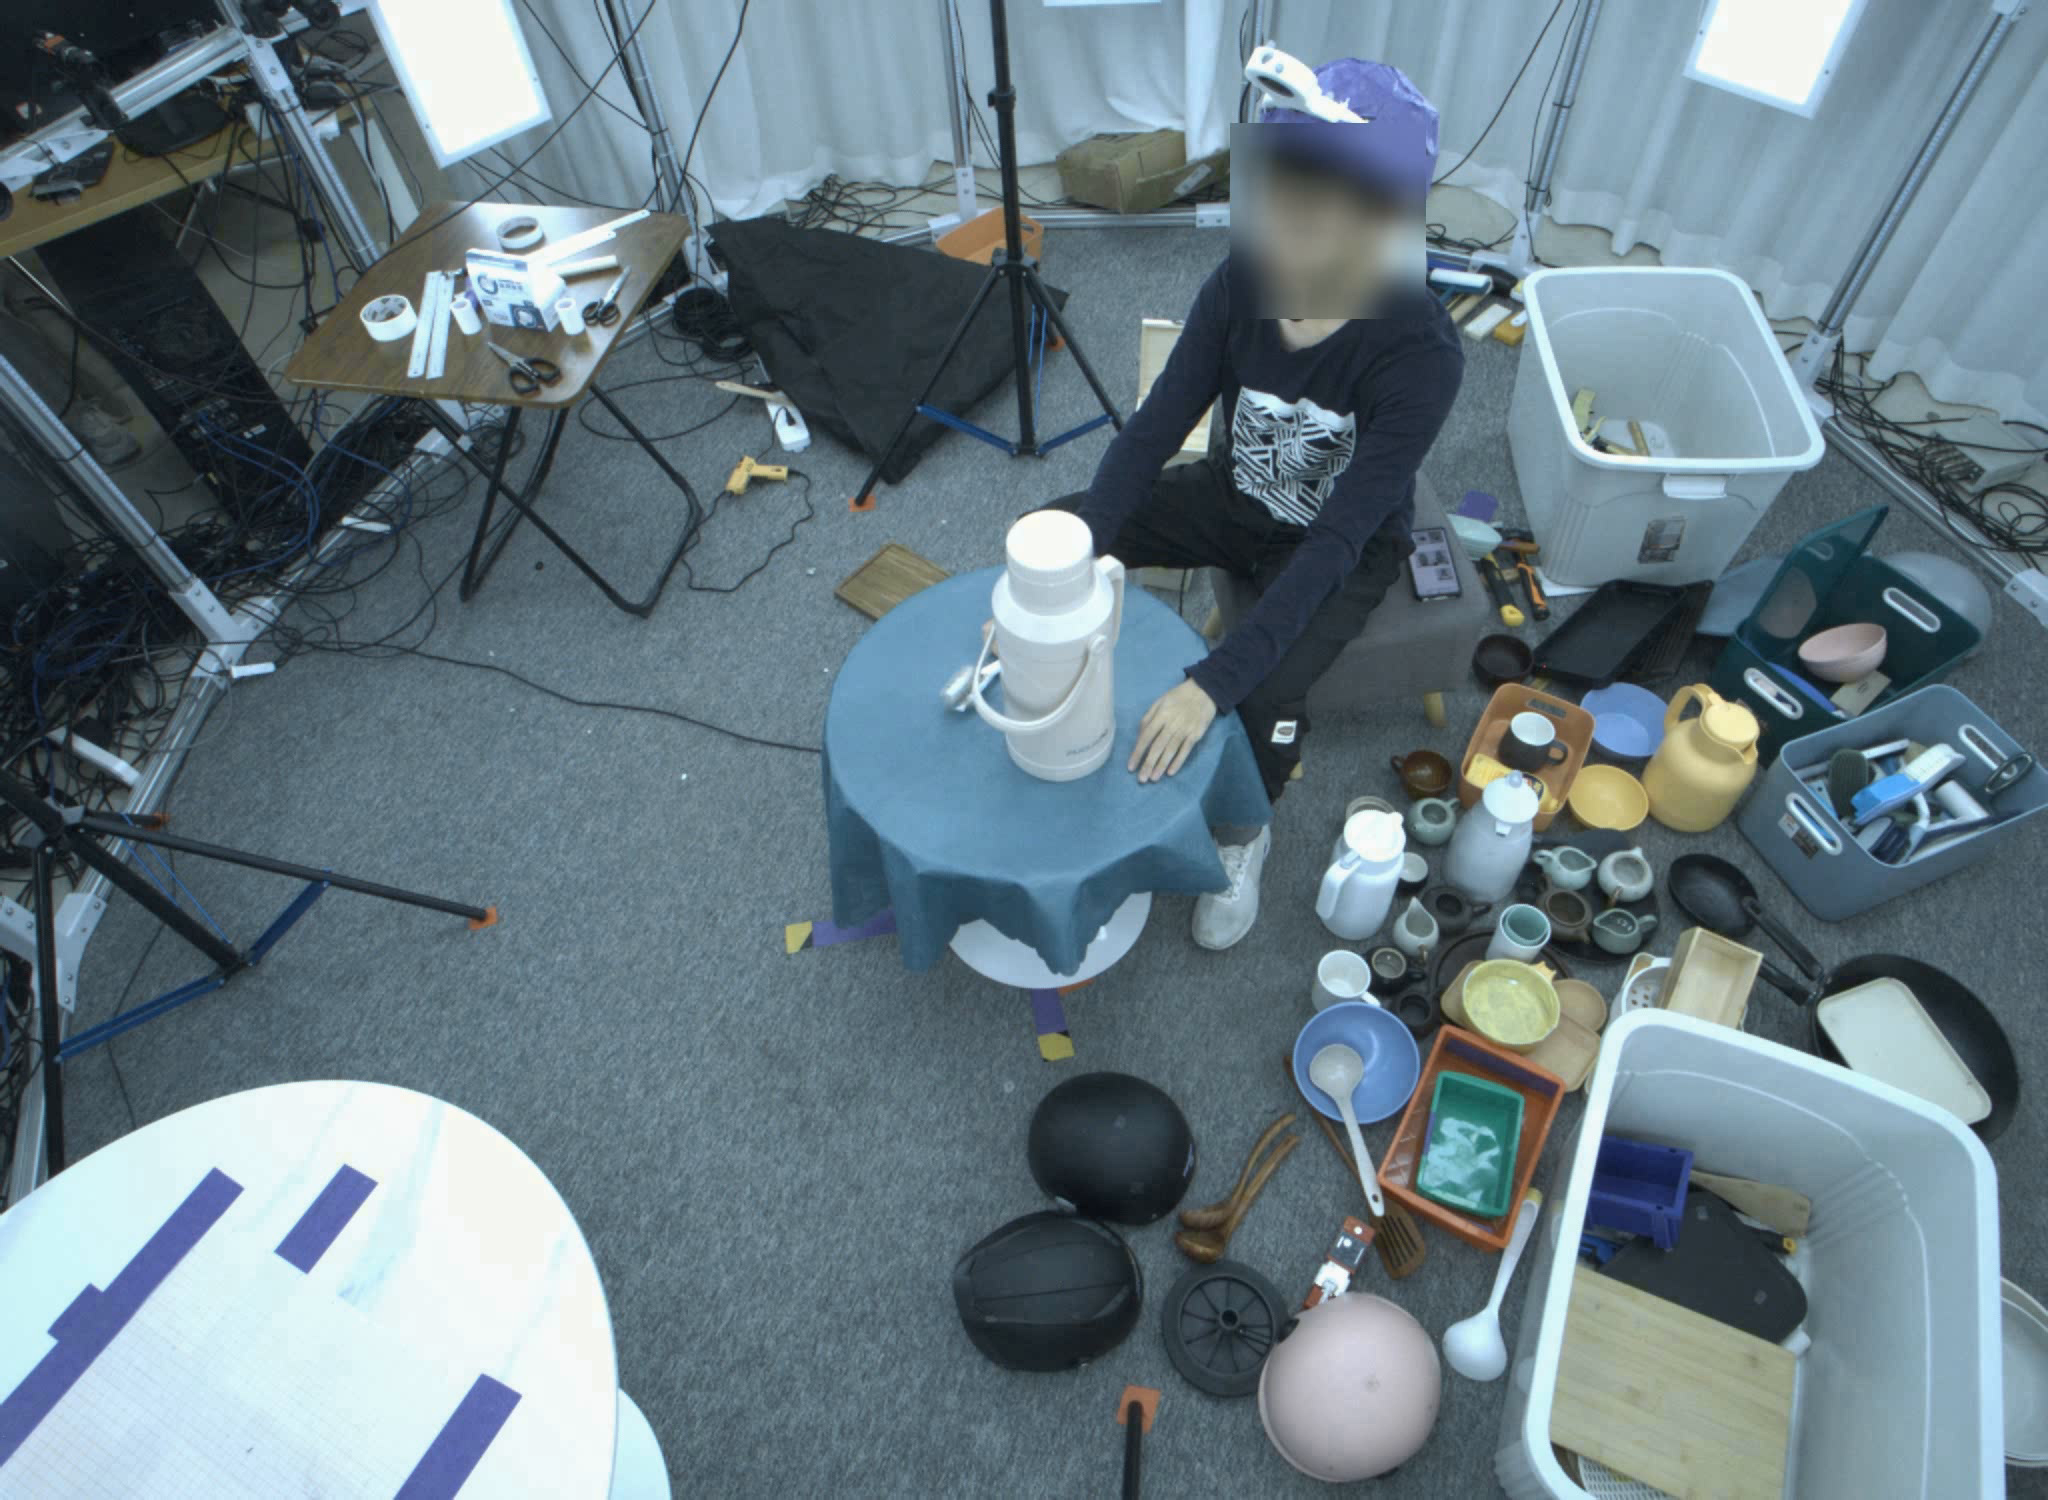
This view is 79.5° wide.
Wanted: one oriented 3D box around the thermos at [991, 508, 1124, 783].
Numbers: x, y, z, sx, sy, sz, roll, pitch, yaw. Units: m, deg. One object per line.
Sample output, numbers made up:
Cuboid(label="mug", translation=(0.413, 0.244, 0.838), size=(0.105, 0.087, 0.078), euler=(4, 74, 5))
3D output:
Cuboid(label="thermos", translation=(0.053, -0.141, 1.633), size=(0.208, 0.411, 0.172), euler=(-39, 59, -22))

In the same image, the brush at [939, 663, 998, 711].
Cuboid(label="brush", translation=(-0.026, -0.140, 1.851), size=(0.245, 0.051, 0.033), euler=(-37, 53, -21))
